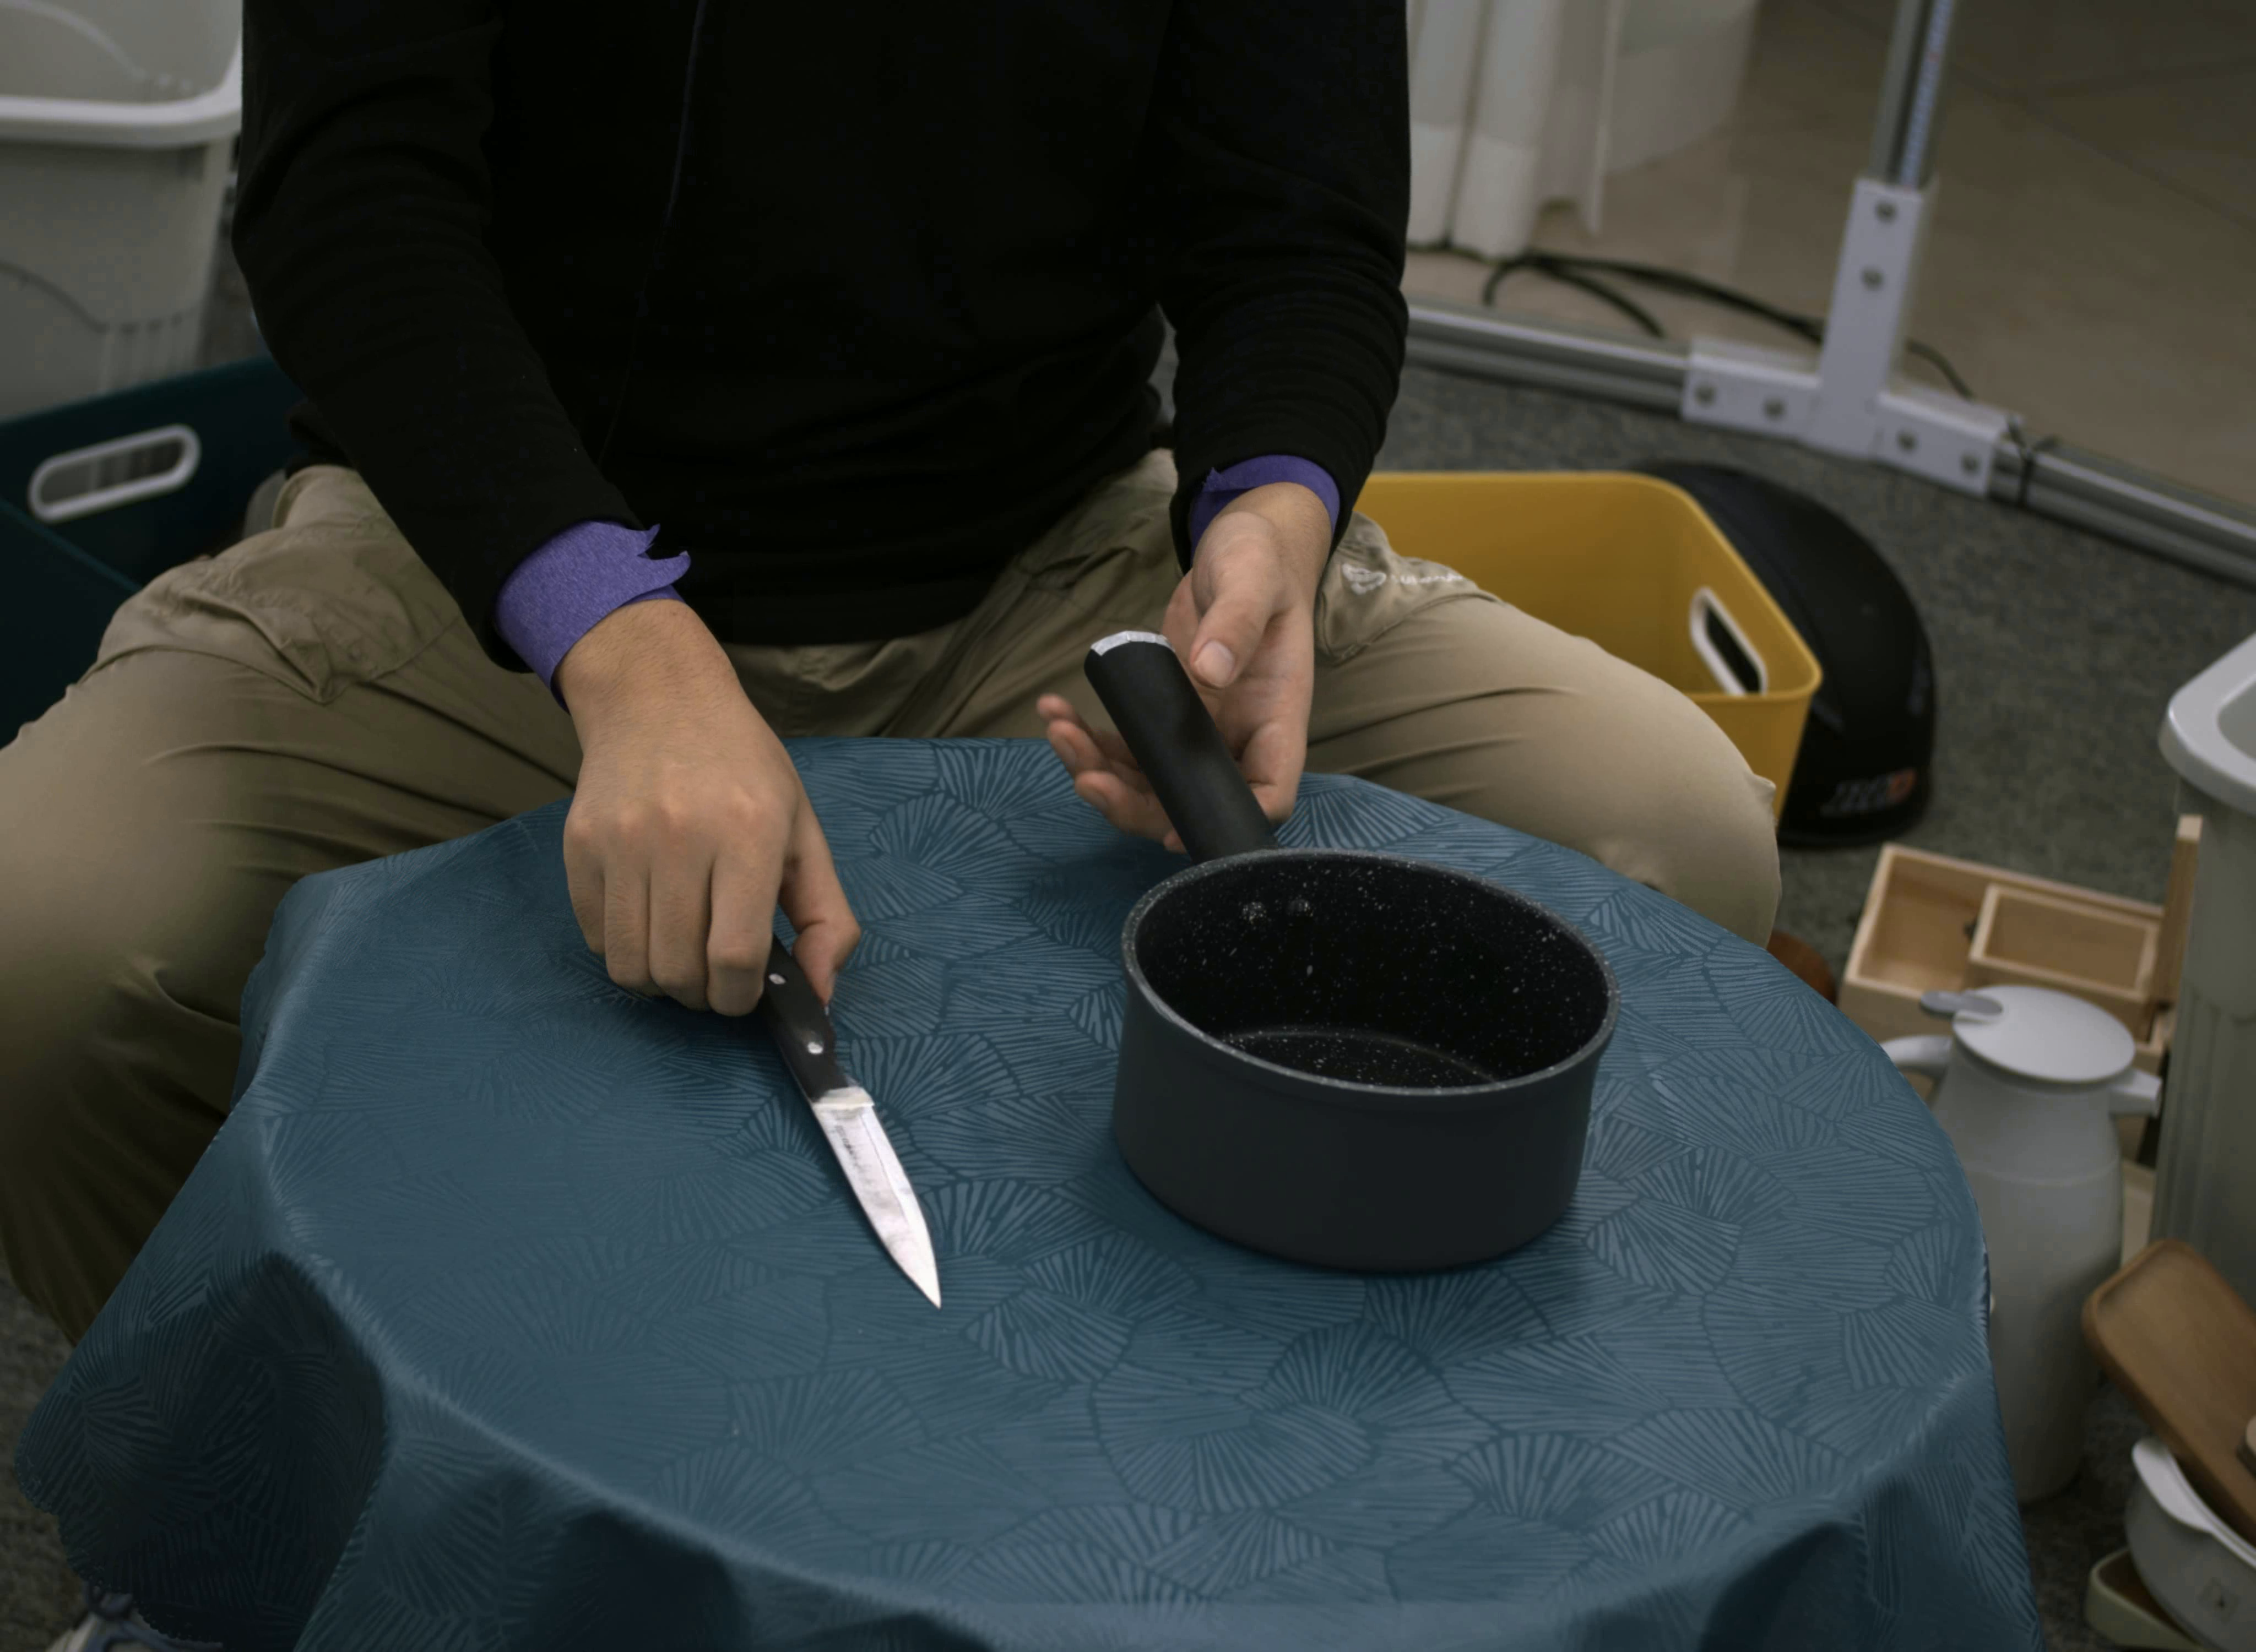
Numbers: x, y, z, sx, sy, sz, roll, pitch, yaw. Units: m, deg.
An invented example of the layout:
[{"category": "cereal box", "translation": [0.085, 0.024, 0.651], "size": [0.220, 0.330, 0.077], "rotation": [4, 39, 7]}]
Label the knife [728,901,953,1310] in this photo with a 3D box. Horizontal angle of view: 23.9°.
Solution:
[{"category": "knife", "translation": [-0.100, 0.094, 1.822], "size": [0.024, 0.016, 0.240], "rotation": [-3, 33, -21]}]

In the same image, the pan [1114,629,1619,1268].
[{"category": "pan", "translation": [0.055, 0.040, 1.889], "size": [0.171, 0.086, 0.331], "rotation": [-2, 29, -18]}]
